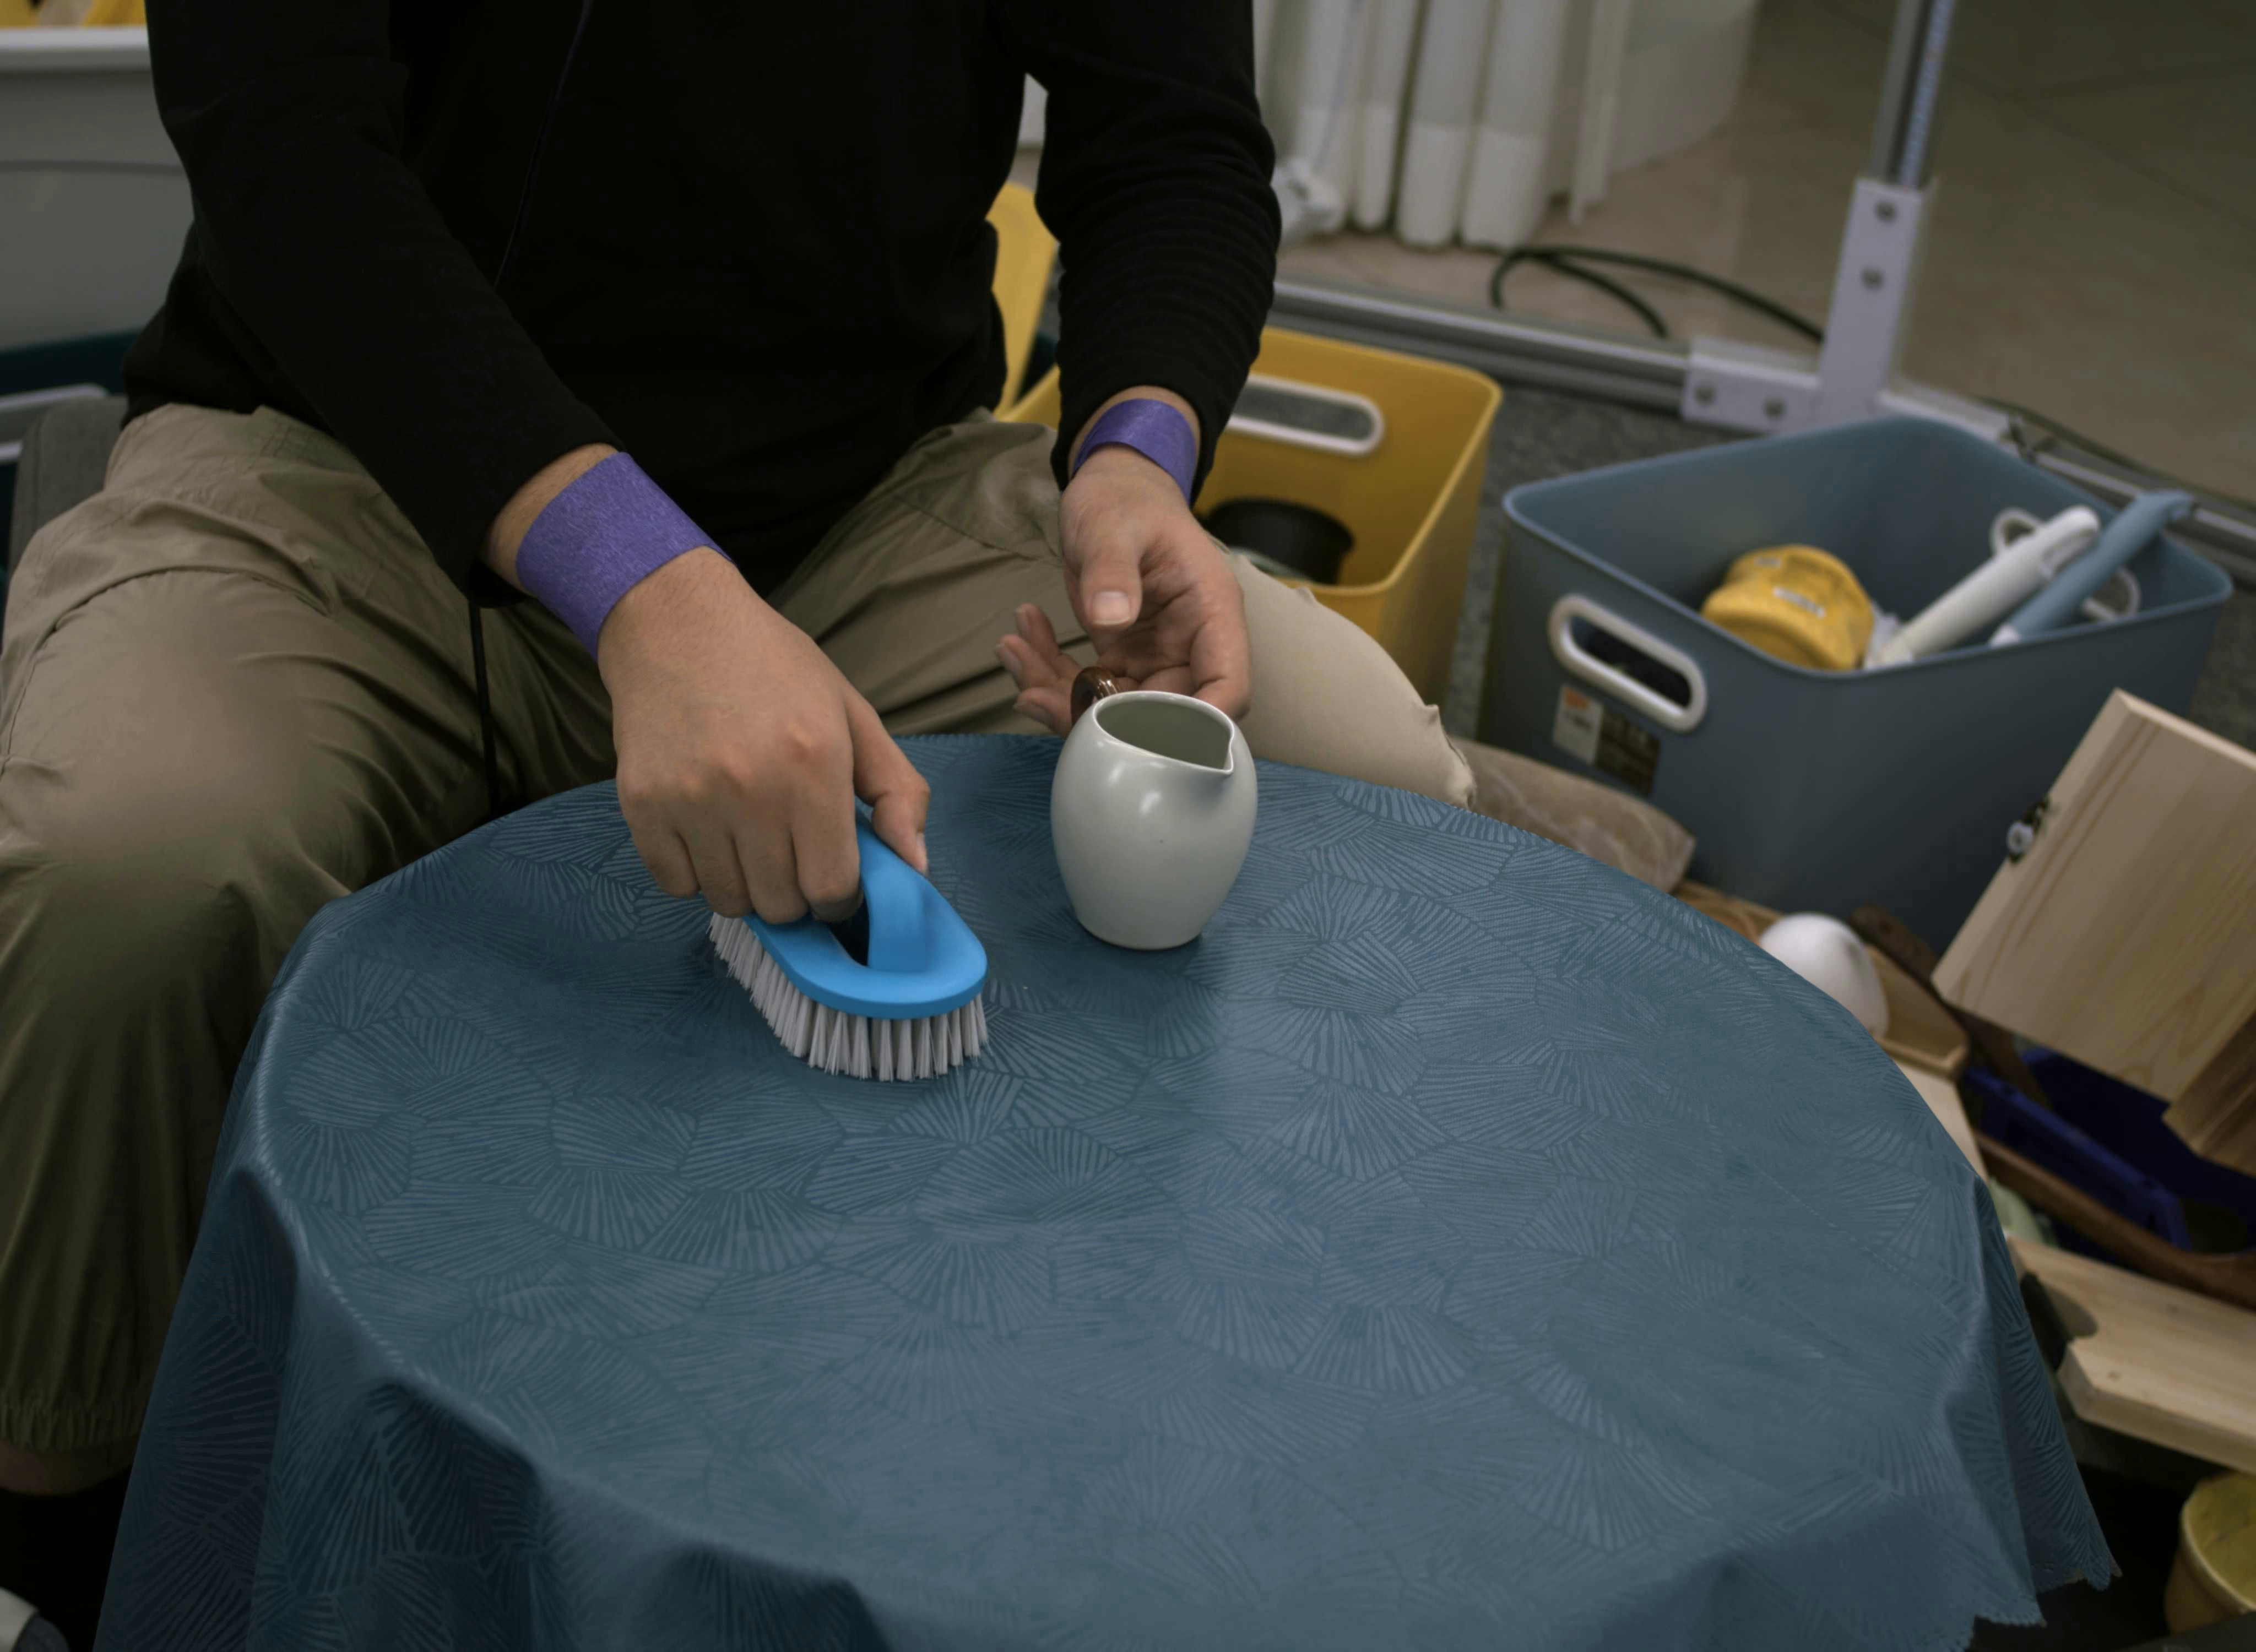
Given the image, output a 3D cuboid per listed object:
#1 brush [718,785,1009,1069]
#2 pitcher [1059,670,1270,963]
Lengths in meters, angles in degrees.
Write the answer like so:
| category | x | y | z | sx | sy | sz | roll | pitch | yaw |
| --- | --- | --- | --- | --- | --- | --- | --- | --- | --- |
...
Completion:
| category | x | y | z | sx | sy | sz | roll | pitch | yaw |
| --- | --- | --- | --- | --- | --- | --- | --- | --- | --- |
| brush | -0.096 | 0.027 | 1.896 | 0.084 | 0.063 | 0.143 | -10 | 30 | -21 |
| pitcher | 0.009 | -0.002 | 1.954 | 0.075 | 0.087 | 0.120 | 0 | 30 | -25 |
